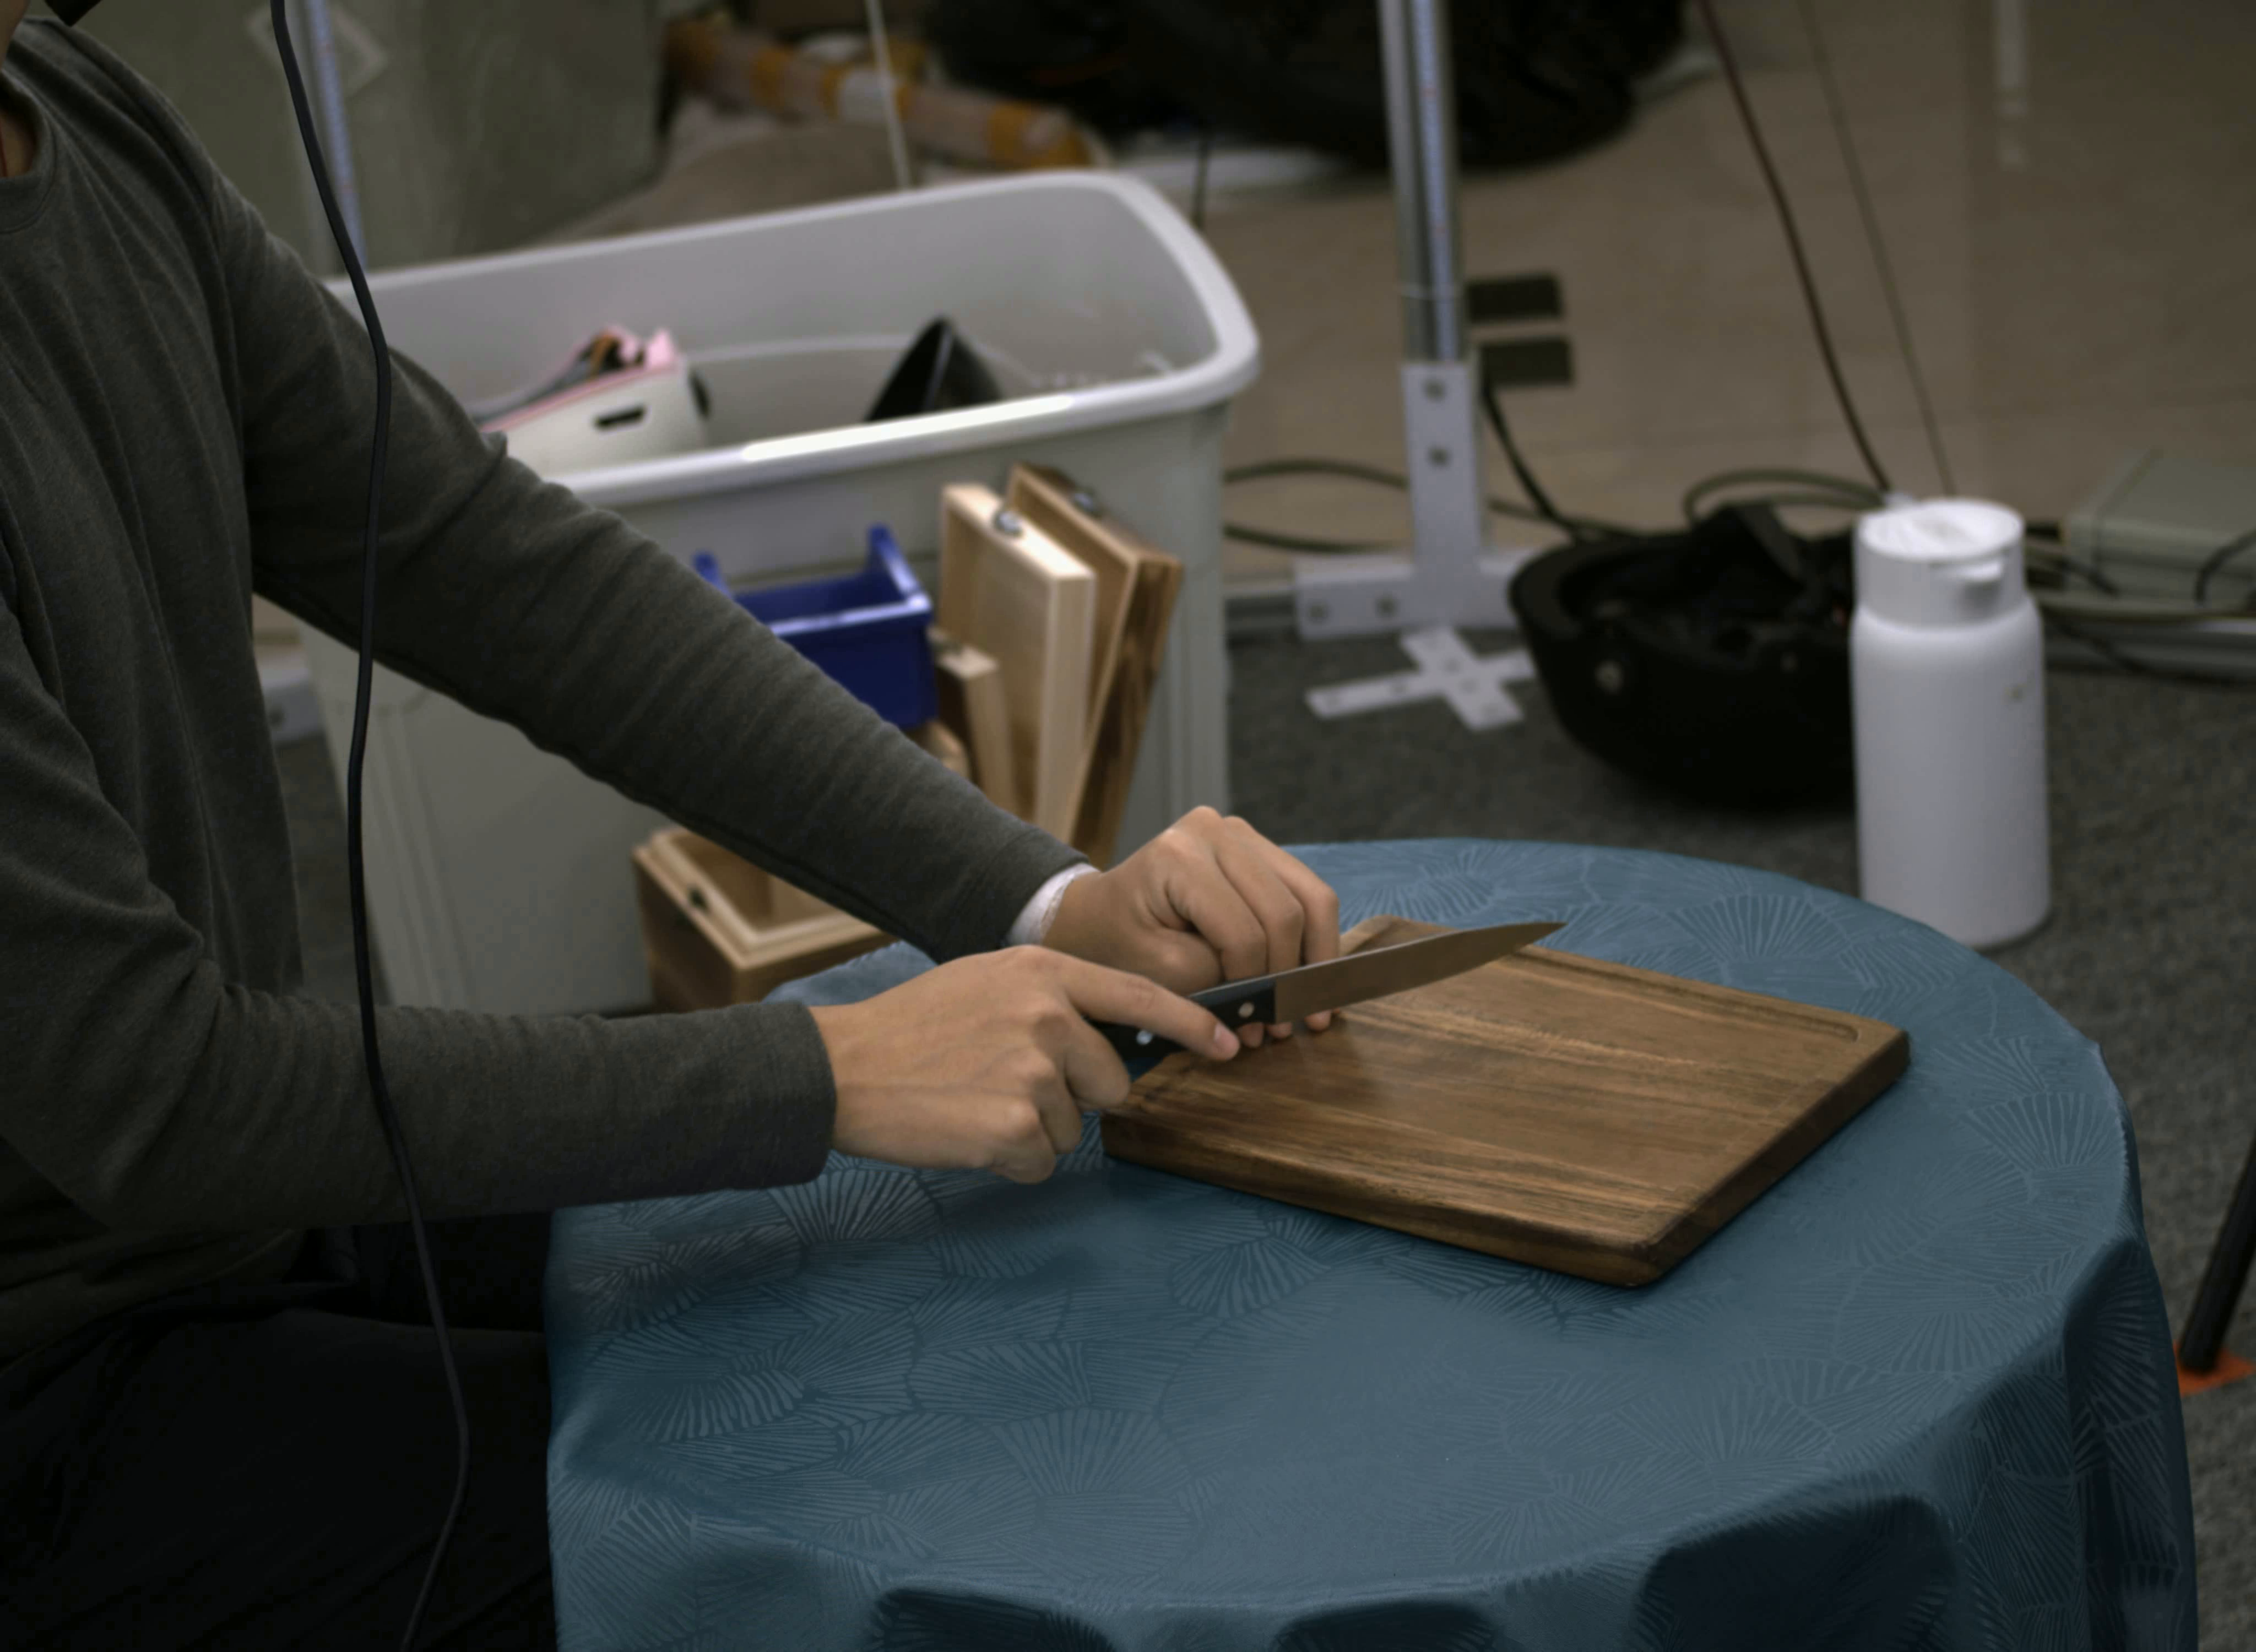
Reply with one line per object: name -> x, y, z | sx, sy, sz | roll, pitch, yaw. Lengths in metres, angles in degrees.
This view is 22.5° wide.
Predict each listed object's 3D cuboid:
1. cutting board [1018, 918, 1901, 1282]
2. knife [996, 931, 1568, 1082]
cutting board -> 0.102, 0.093, 2.202 | 0.350, 0.023, 0.199 | 12, 30, 35
knife -> 0.061, 0.064, 2.170 | 0.237, 0.025, 0.016 | -12, 28, -18
